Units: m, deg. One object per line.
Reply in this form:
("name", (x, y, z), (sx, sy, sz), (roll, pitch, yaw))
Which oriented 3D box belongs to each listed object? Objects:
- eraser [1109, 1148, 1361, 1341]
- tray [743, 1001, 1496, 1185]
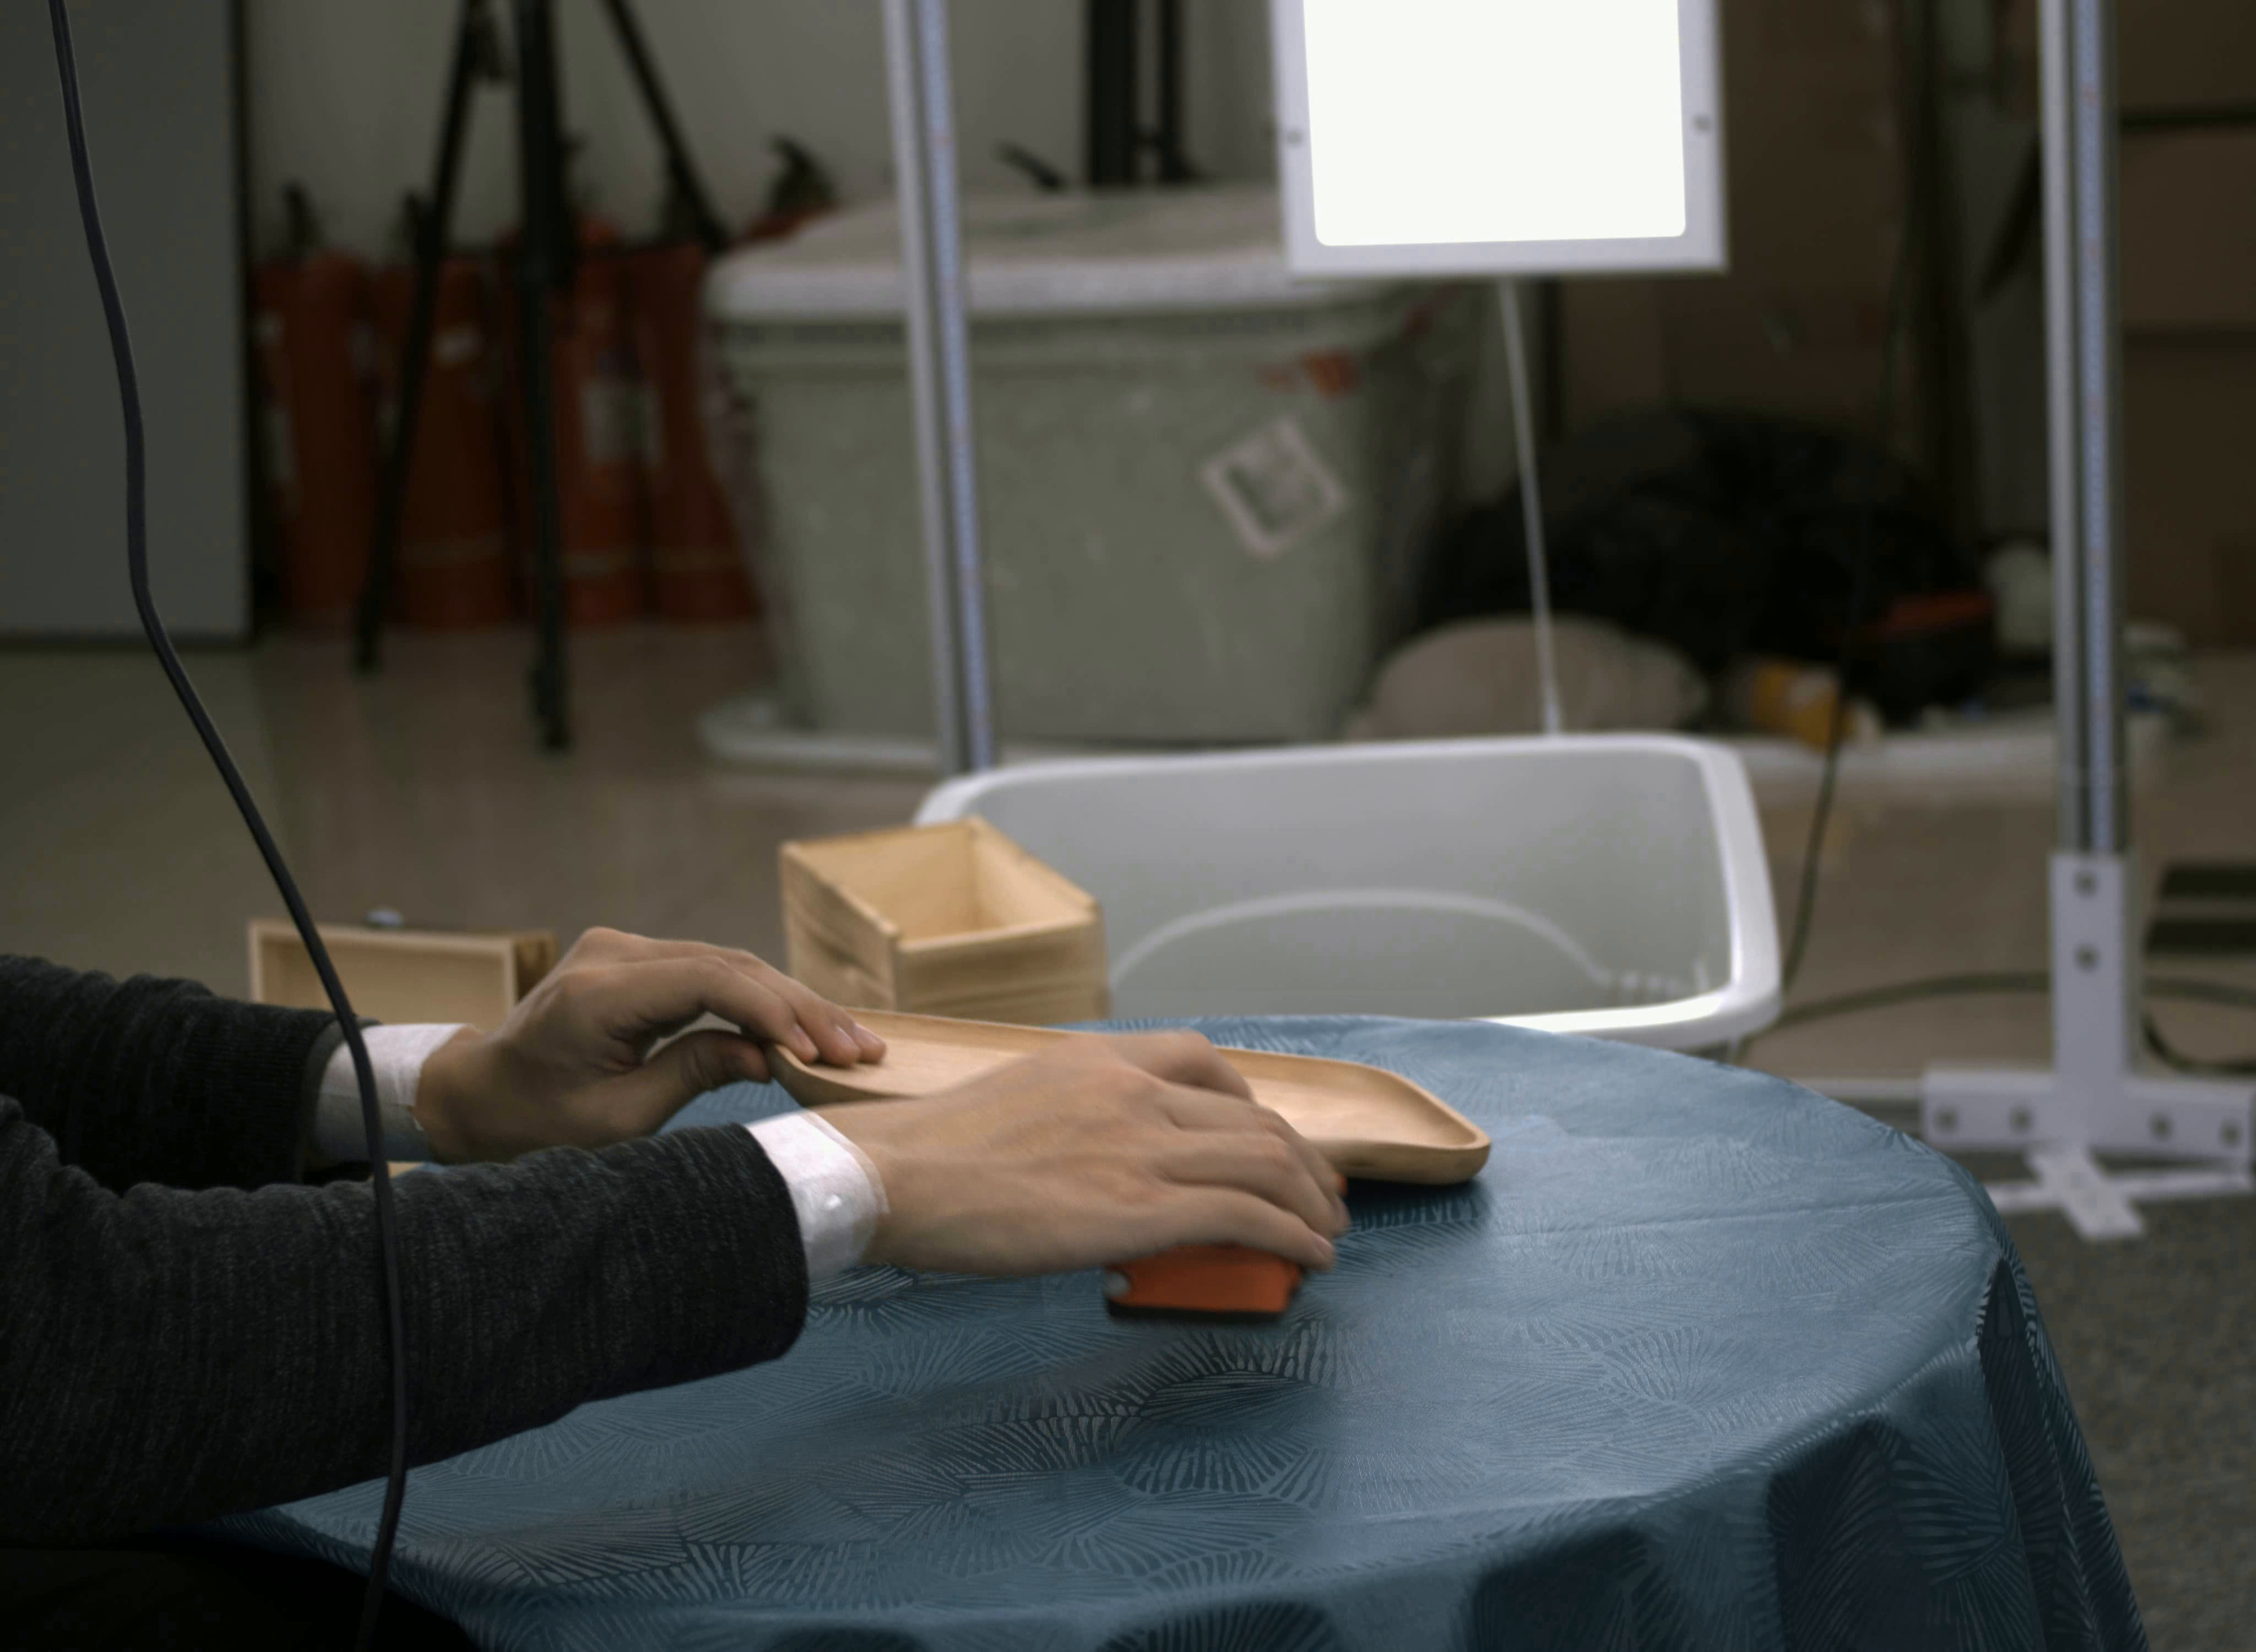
("eraser", (0.035, 0.130, 1.721), (0.059, 0.023, 0.106), (-1, 18, 17))
("tray", (-0.003, 0.092, 1.885), (0.247, 0.023, 0.132), (6, 8, -16))
